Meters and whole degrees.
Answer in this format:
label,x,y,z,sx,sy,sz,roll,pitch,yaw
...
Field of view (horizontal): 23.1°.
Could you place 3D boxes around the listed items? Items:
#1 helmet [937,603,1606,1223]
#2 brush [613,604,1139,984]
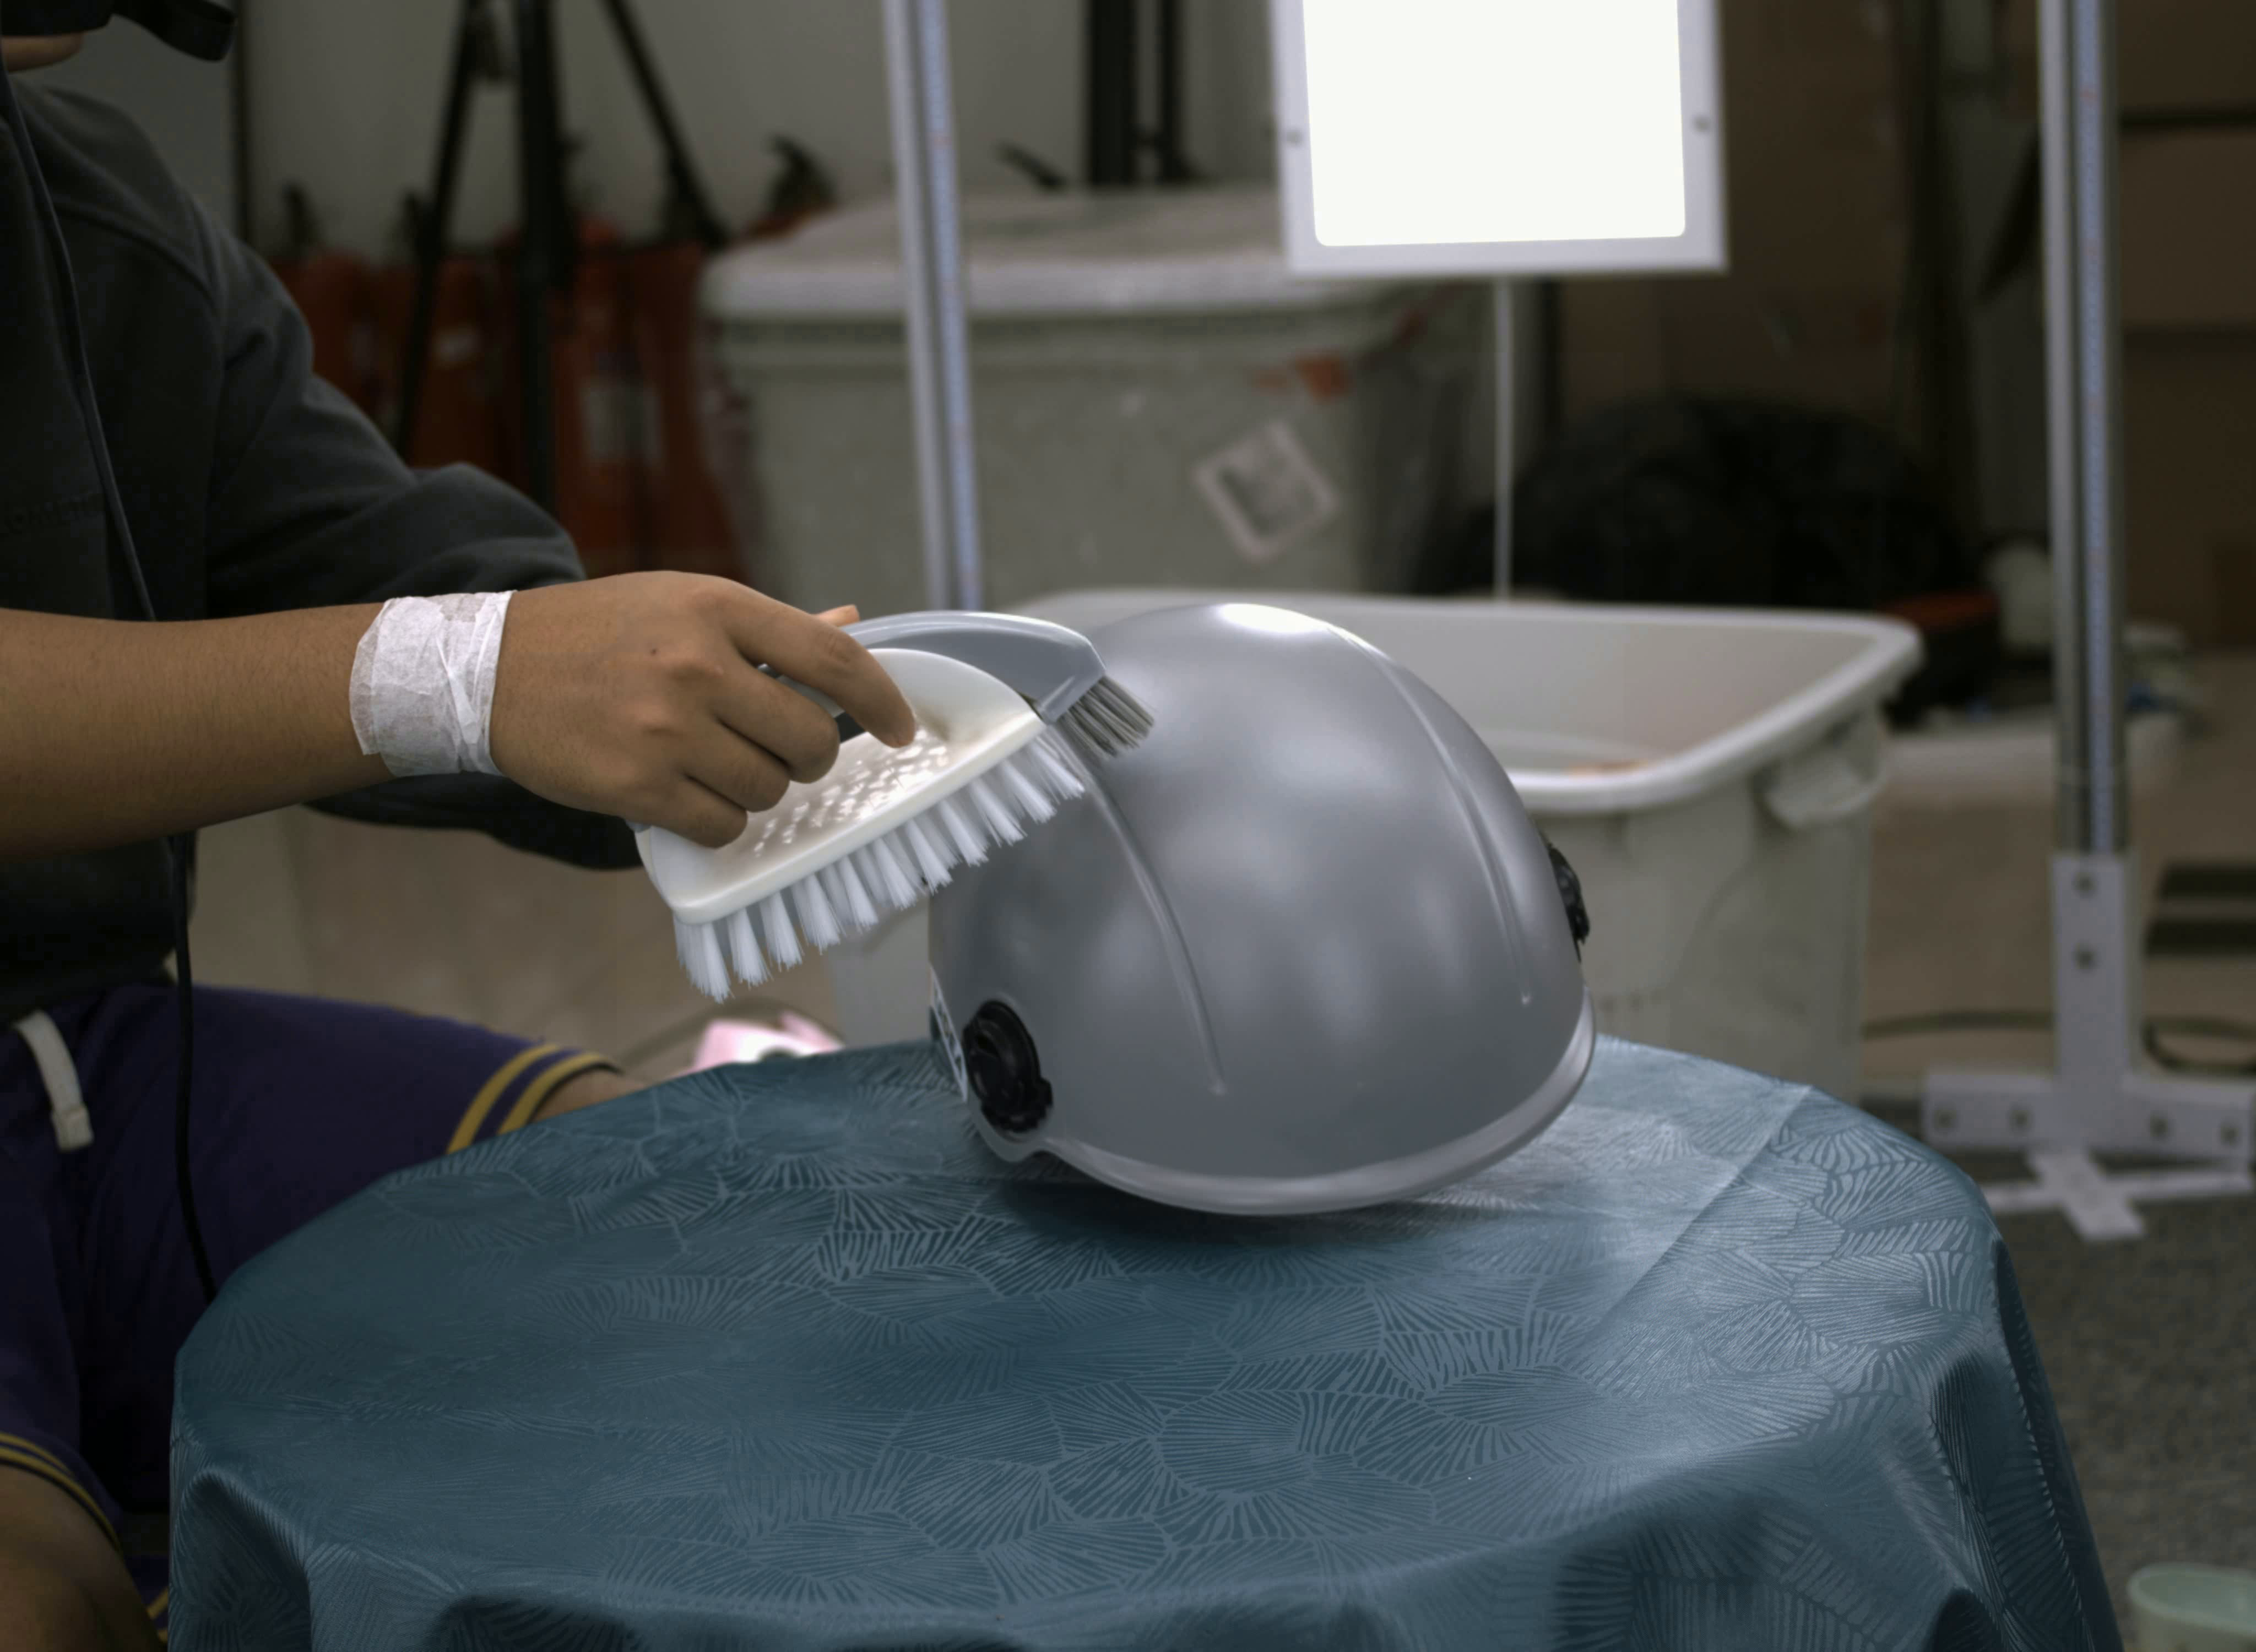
label,x,y,z,sx,sy,sz,roll,pitch,yaw
helmet,0.040,0.014,1.915,0.229,0.169,0.279,-17,22,-15
brush,-0.086,-0.028,1.802,0.174,0.094,0.062,-26,29,-5
